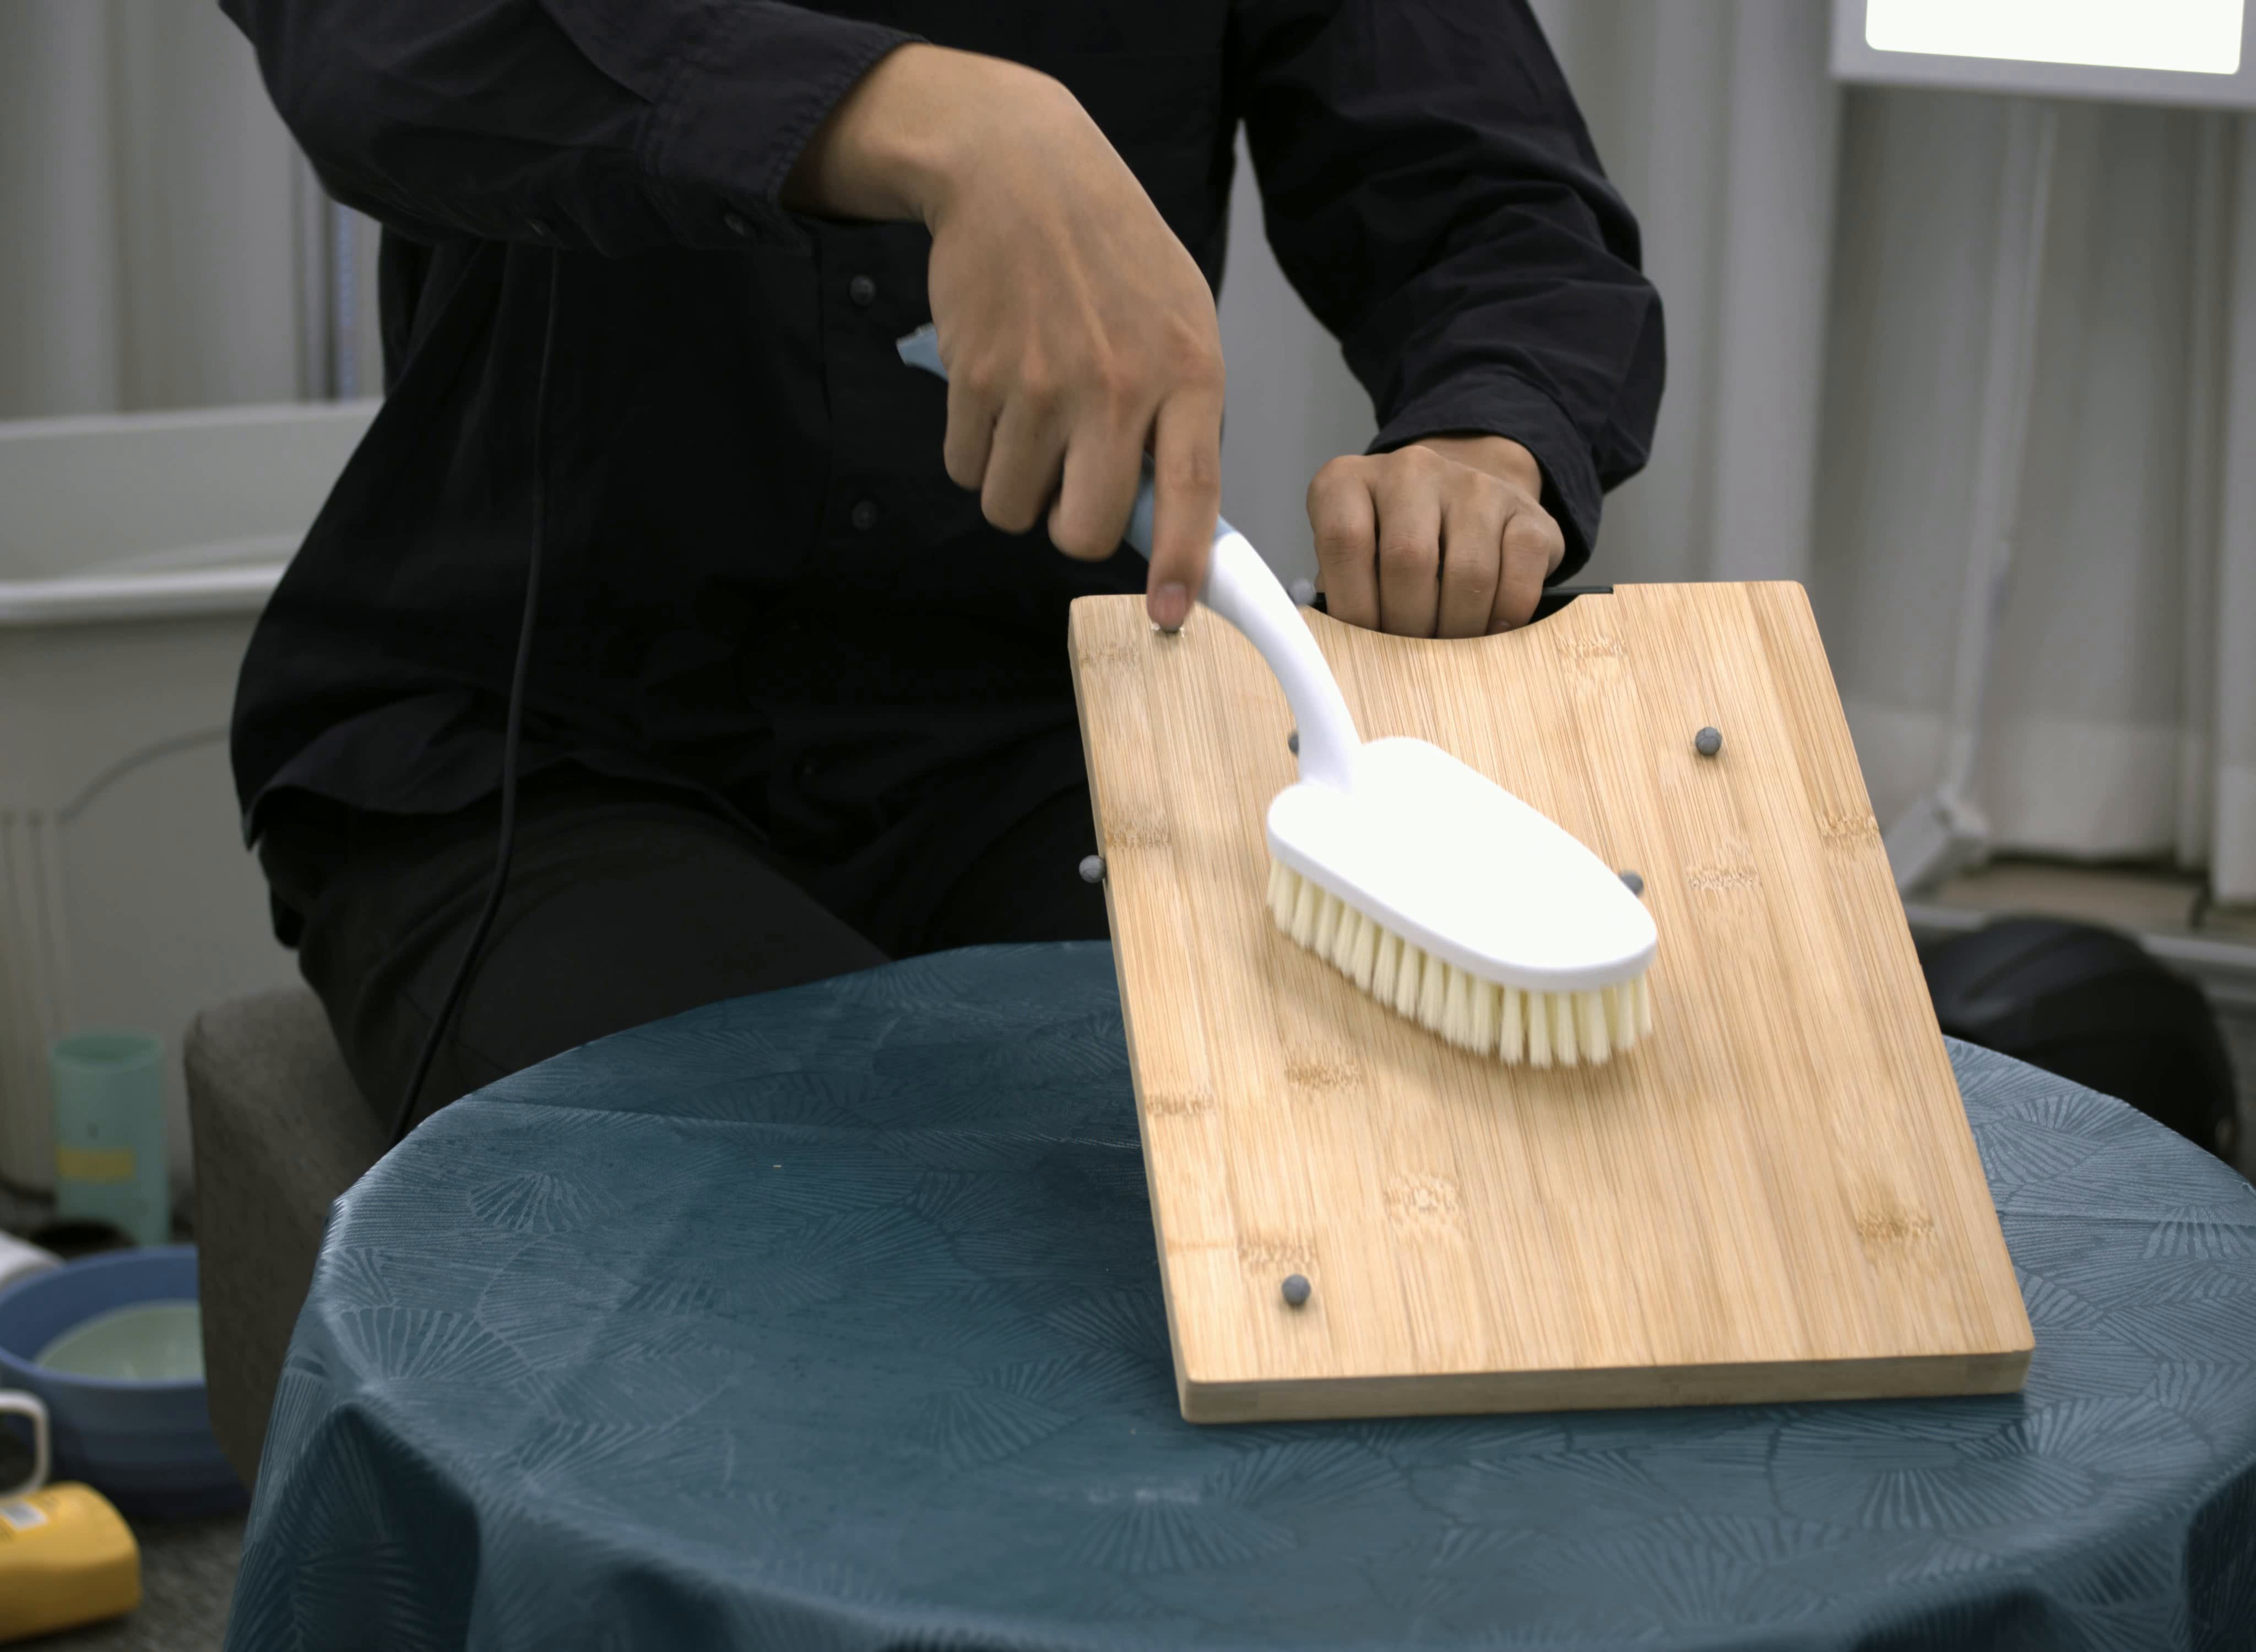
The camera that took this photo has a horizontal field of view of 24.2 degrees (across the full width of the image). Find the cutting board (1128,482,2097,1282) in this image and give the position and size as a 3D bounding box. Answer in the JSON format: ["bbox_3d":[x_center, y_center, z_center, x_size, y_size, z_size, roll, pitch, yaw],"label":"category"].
[{"bbox_3d":[0.138,0.010,1.609,0.250,0.024,0.345,-2,42,-9],"label":"cutting board"}]

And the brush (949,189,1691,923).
[{"bbox_3d":[0.053,-0.076,1.625,0.322,0.085,0.084,43,15,23],"label":"brush"}]
